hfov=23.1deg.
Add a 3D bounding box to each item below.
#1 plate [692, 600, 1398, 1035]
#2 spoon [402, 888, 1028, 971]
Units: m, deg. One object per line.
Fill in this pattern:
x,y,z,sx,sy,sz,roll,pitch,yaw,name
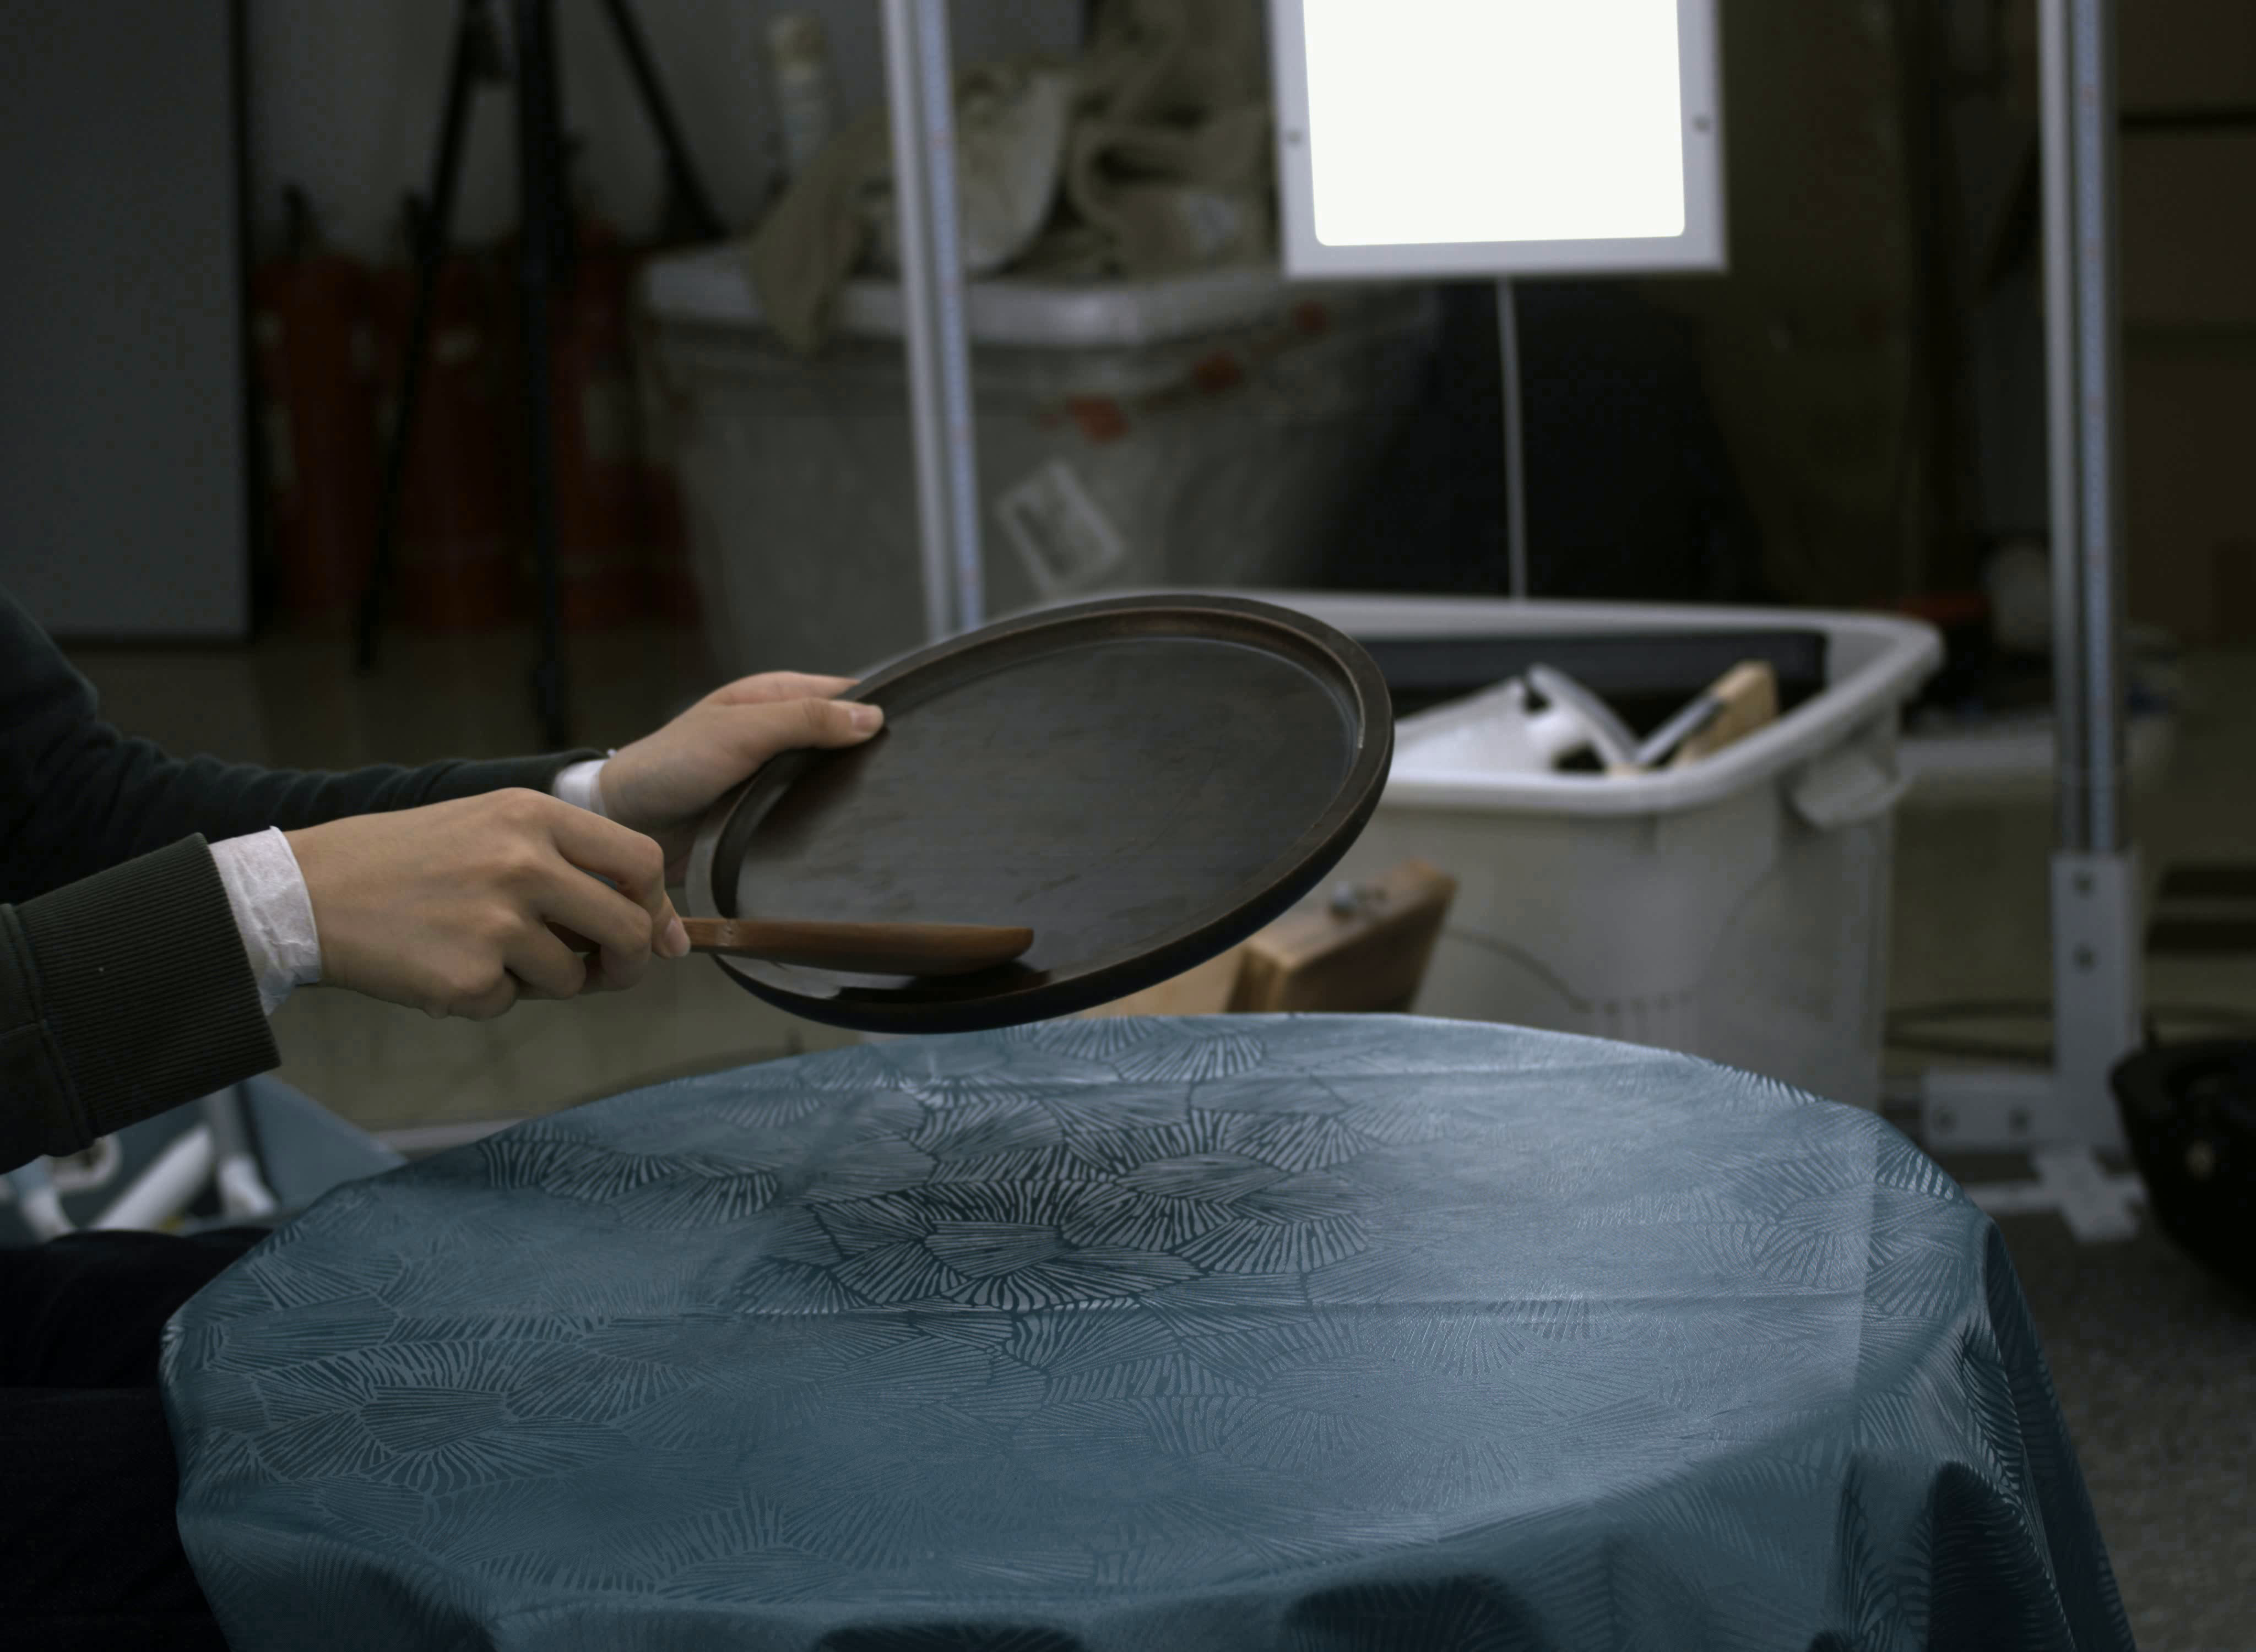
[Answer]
-0.028,-0.004,1.890,0.255,0.029,0.254,-14,29,7,plate
-0.130,0.034,1.759,0.211,0.017,0.077,4,-3,-28,spoon
